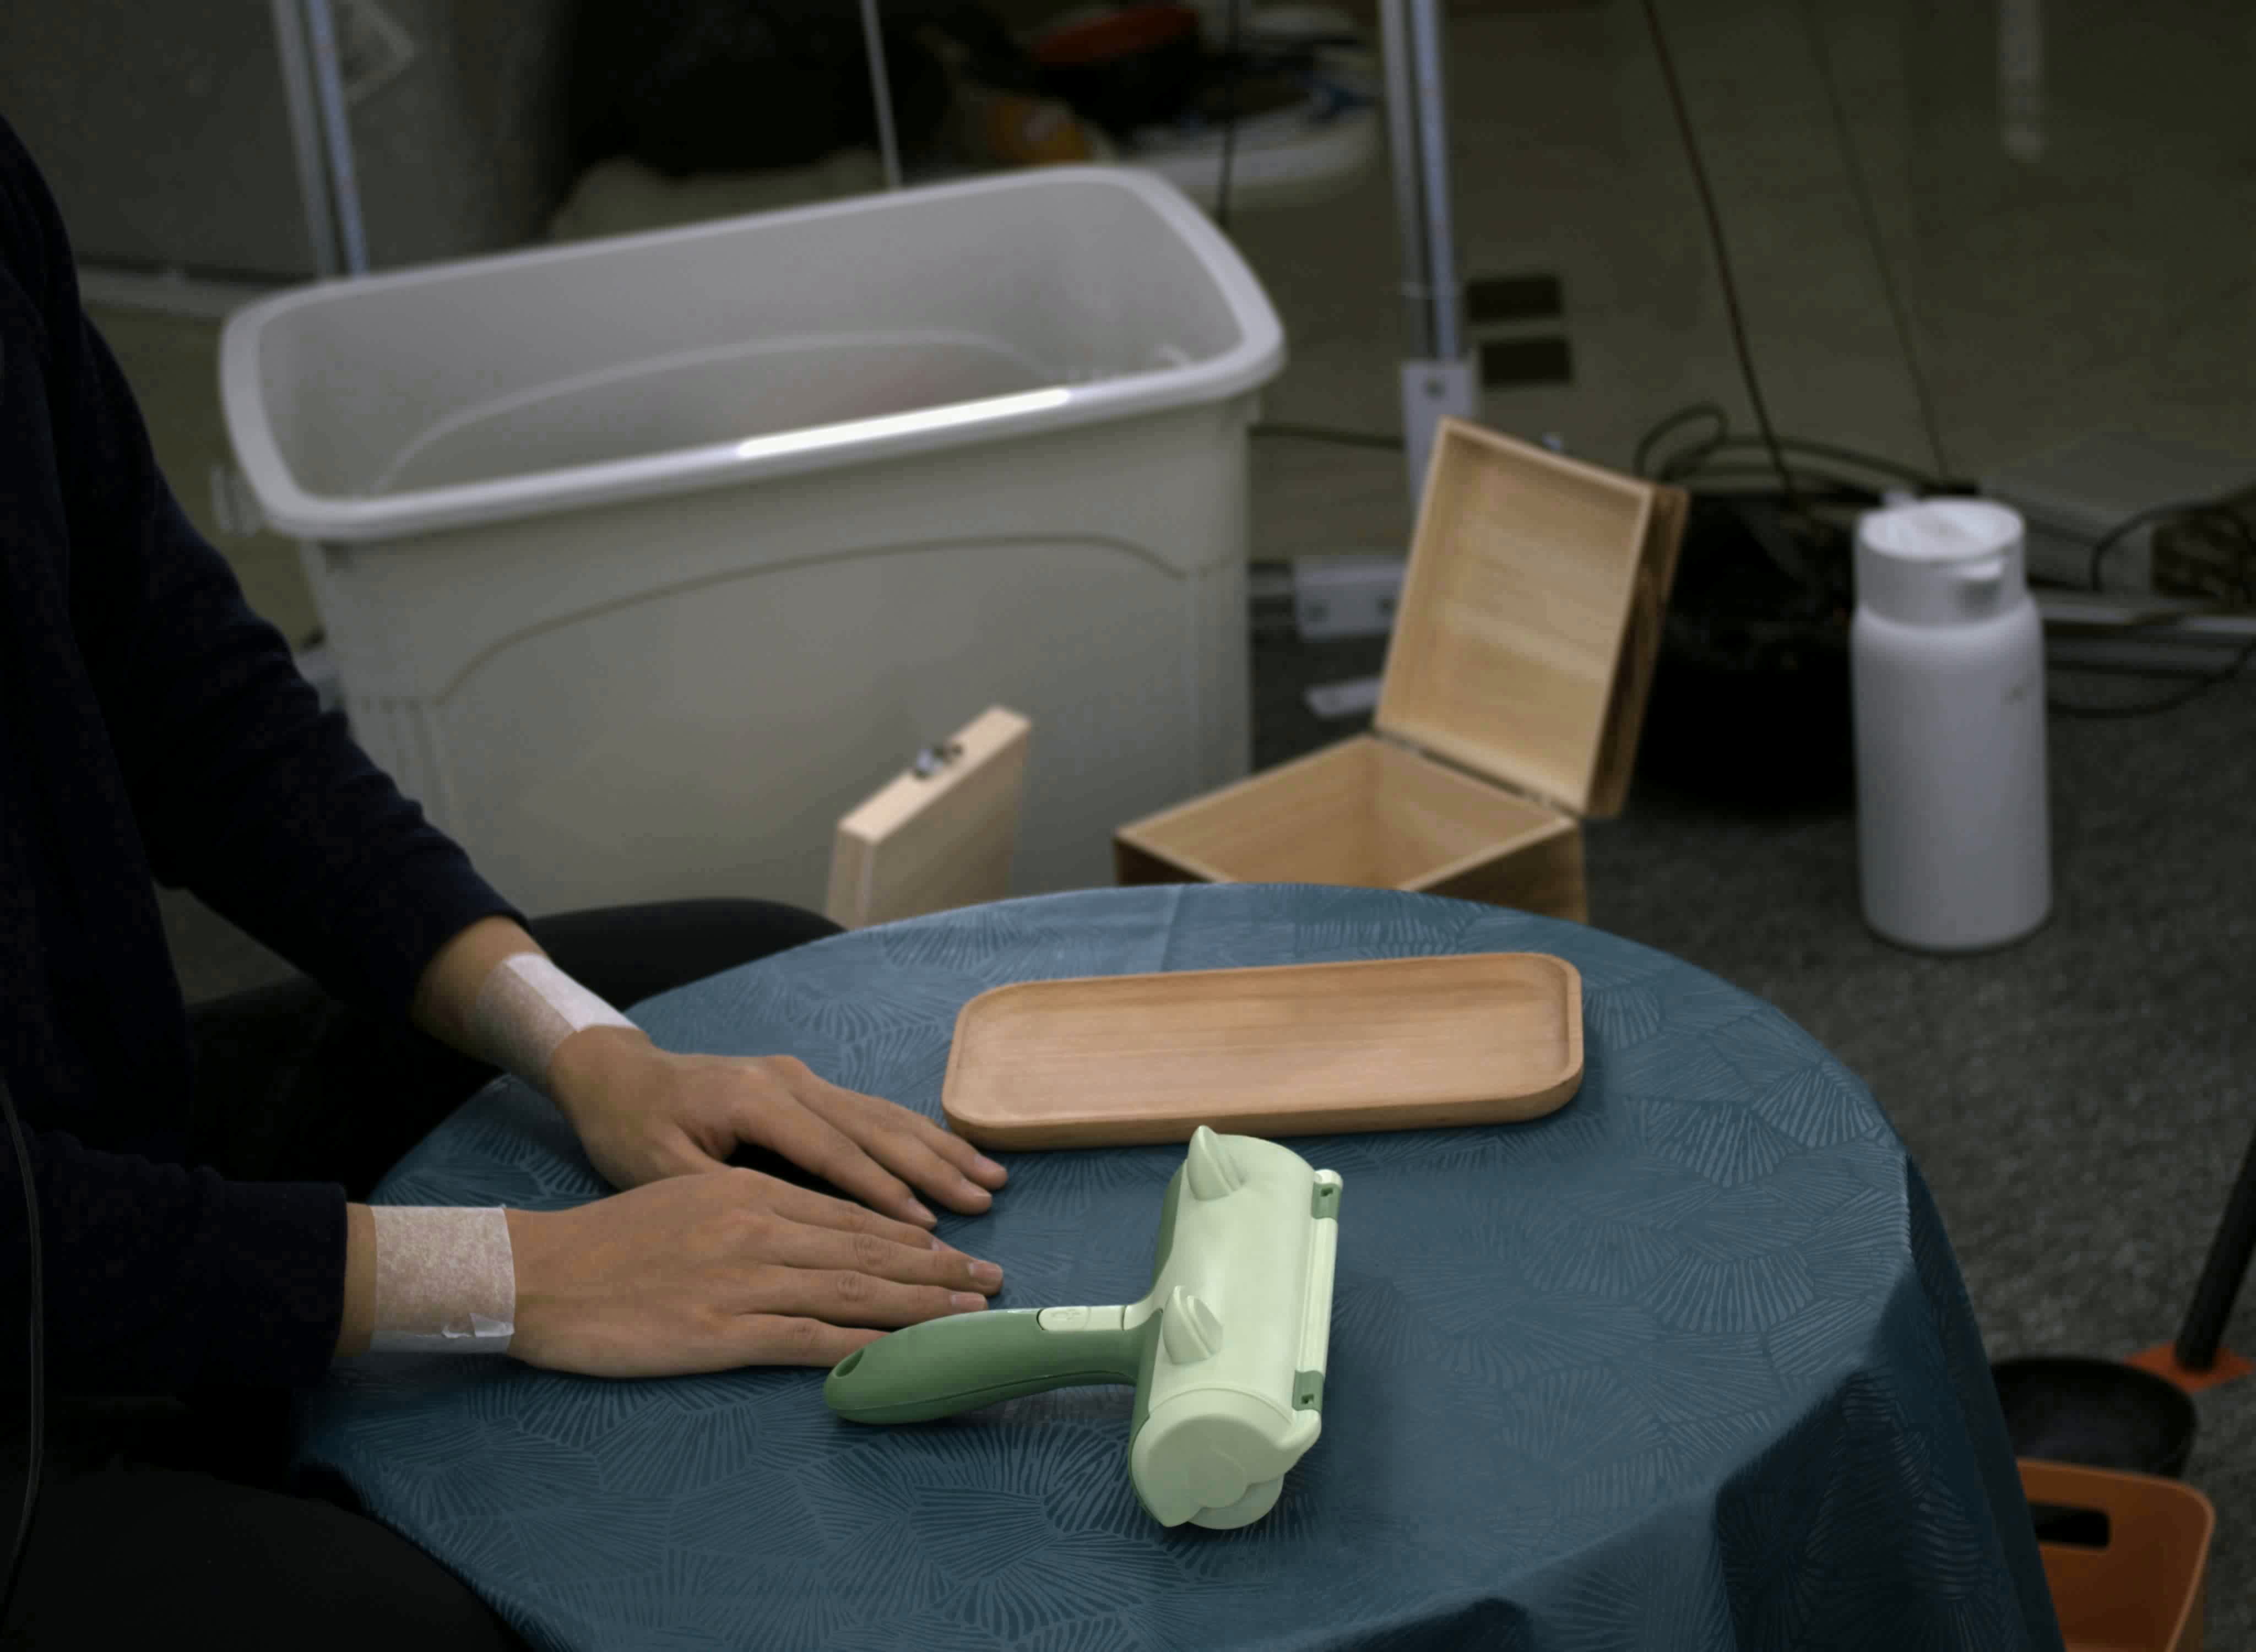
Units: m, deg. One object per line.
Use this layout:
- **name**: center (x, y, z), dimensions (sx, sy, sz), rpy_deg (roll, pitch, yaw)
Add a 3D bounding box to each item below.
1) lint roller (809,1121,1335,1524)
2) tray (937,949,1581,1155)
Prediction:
- **lint roller**: center (-0.022, 0.166, 1.989), dimensions (0.183, 0.083, 0.196), rpy_deg (2, 25, 4)
- **tray**: center (0.053, 0.089, 2.222), dimensions (0.250, 0.023, 0.129), rpy_deg (-4, 23, 7)
